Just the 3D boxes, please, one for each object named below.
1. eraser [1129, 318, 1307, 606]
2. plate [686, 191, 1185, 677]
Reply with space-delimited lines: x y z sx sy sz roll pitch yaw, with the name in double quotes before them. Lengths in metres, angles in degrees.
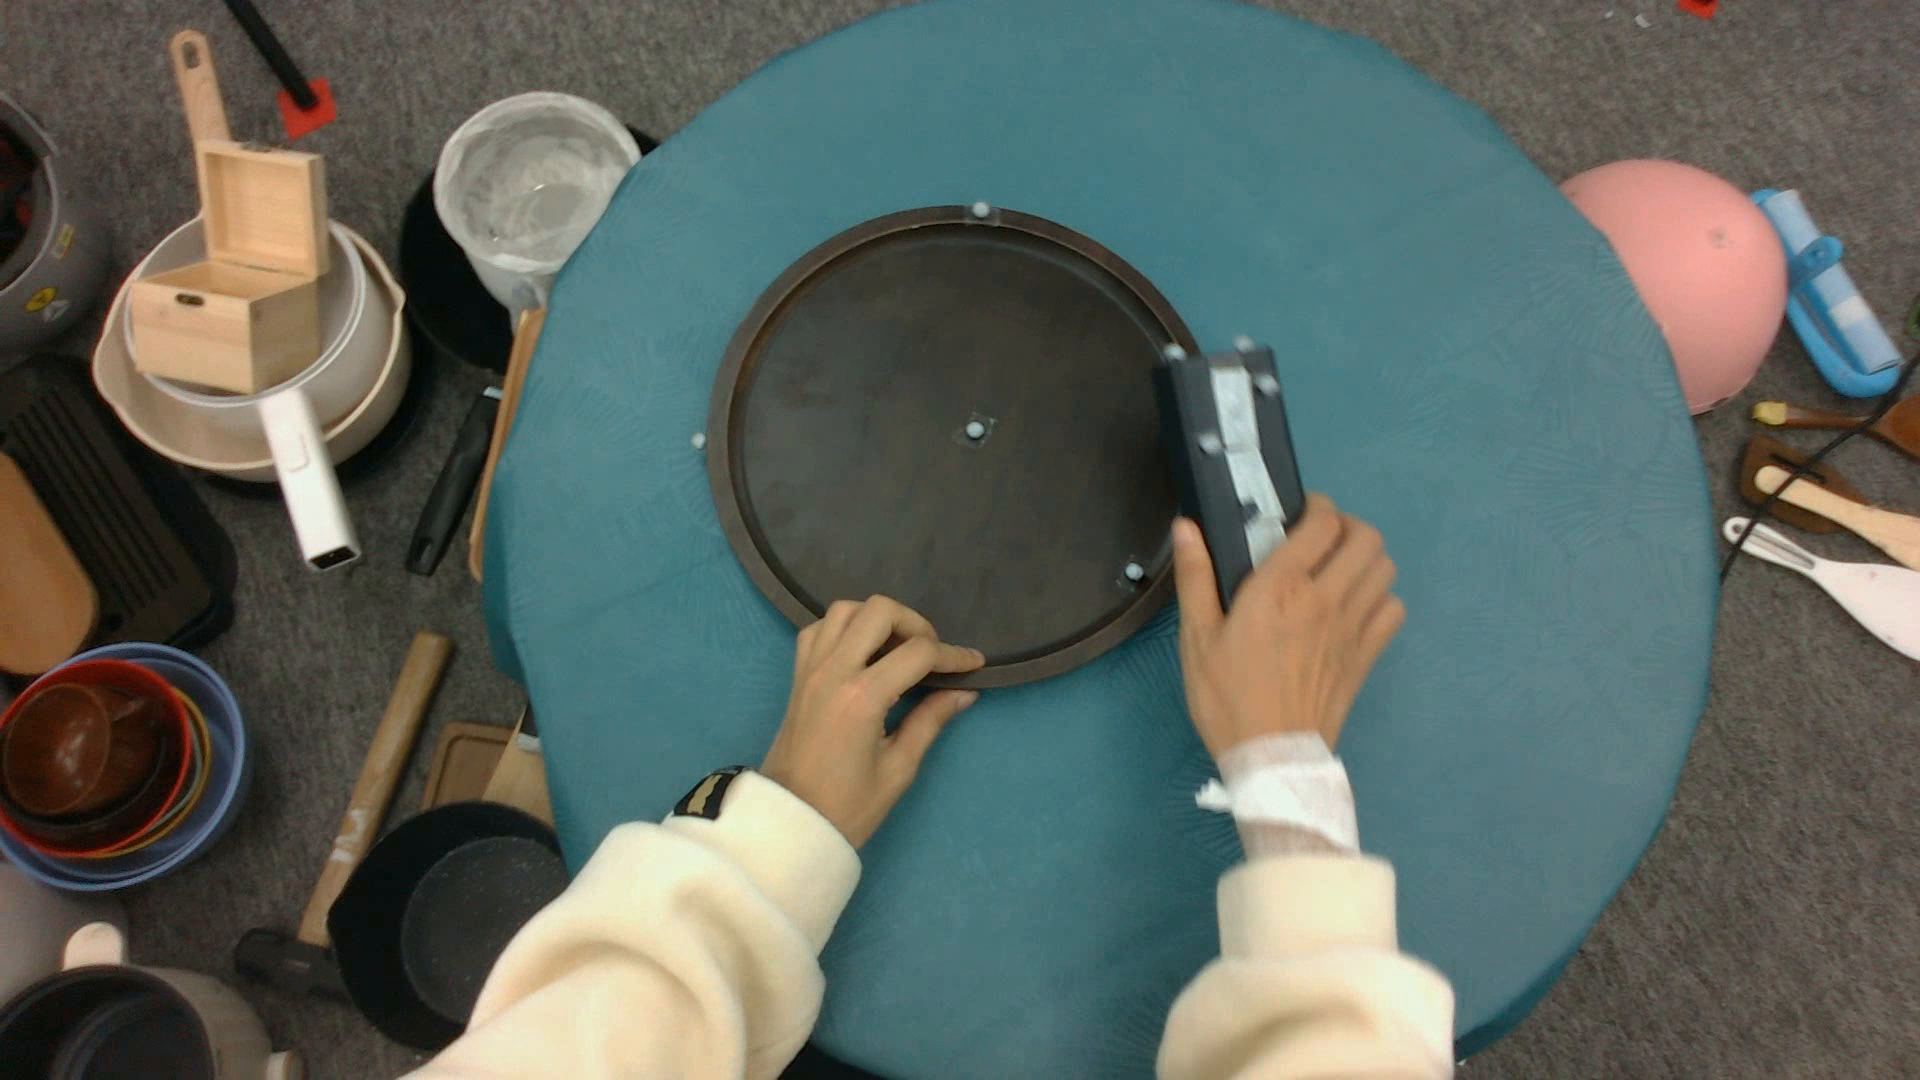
"eraser" 0.116 -0.035 0.627 0.053 0.030 0.125 -11 84 -12
"plate" -0.005 -0.055 0.675 0.255 0.029 0.255 1 71 -3
